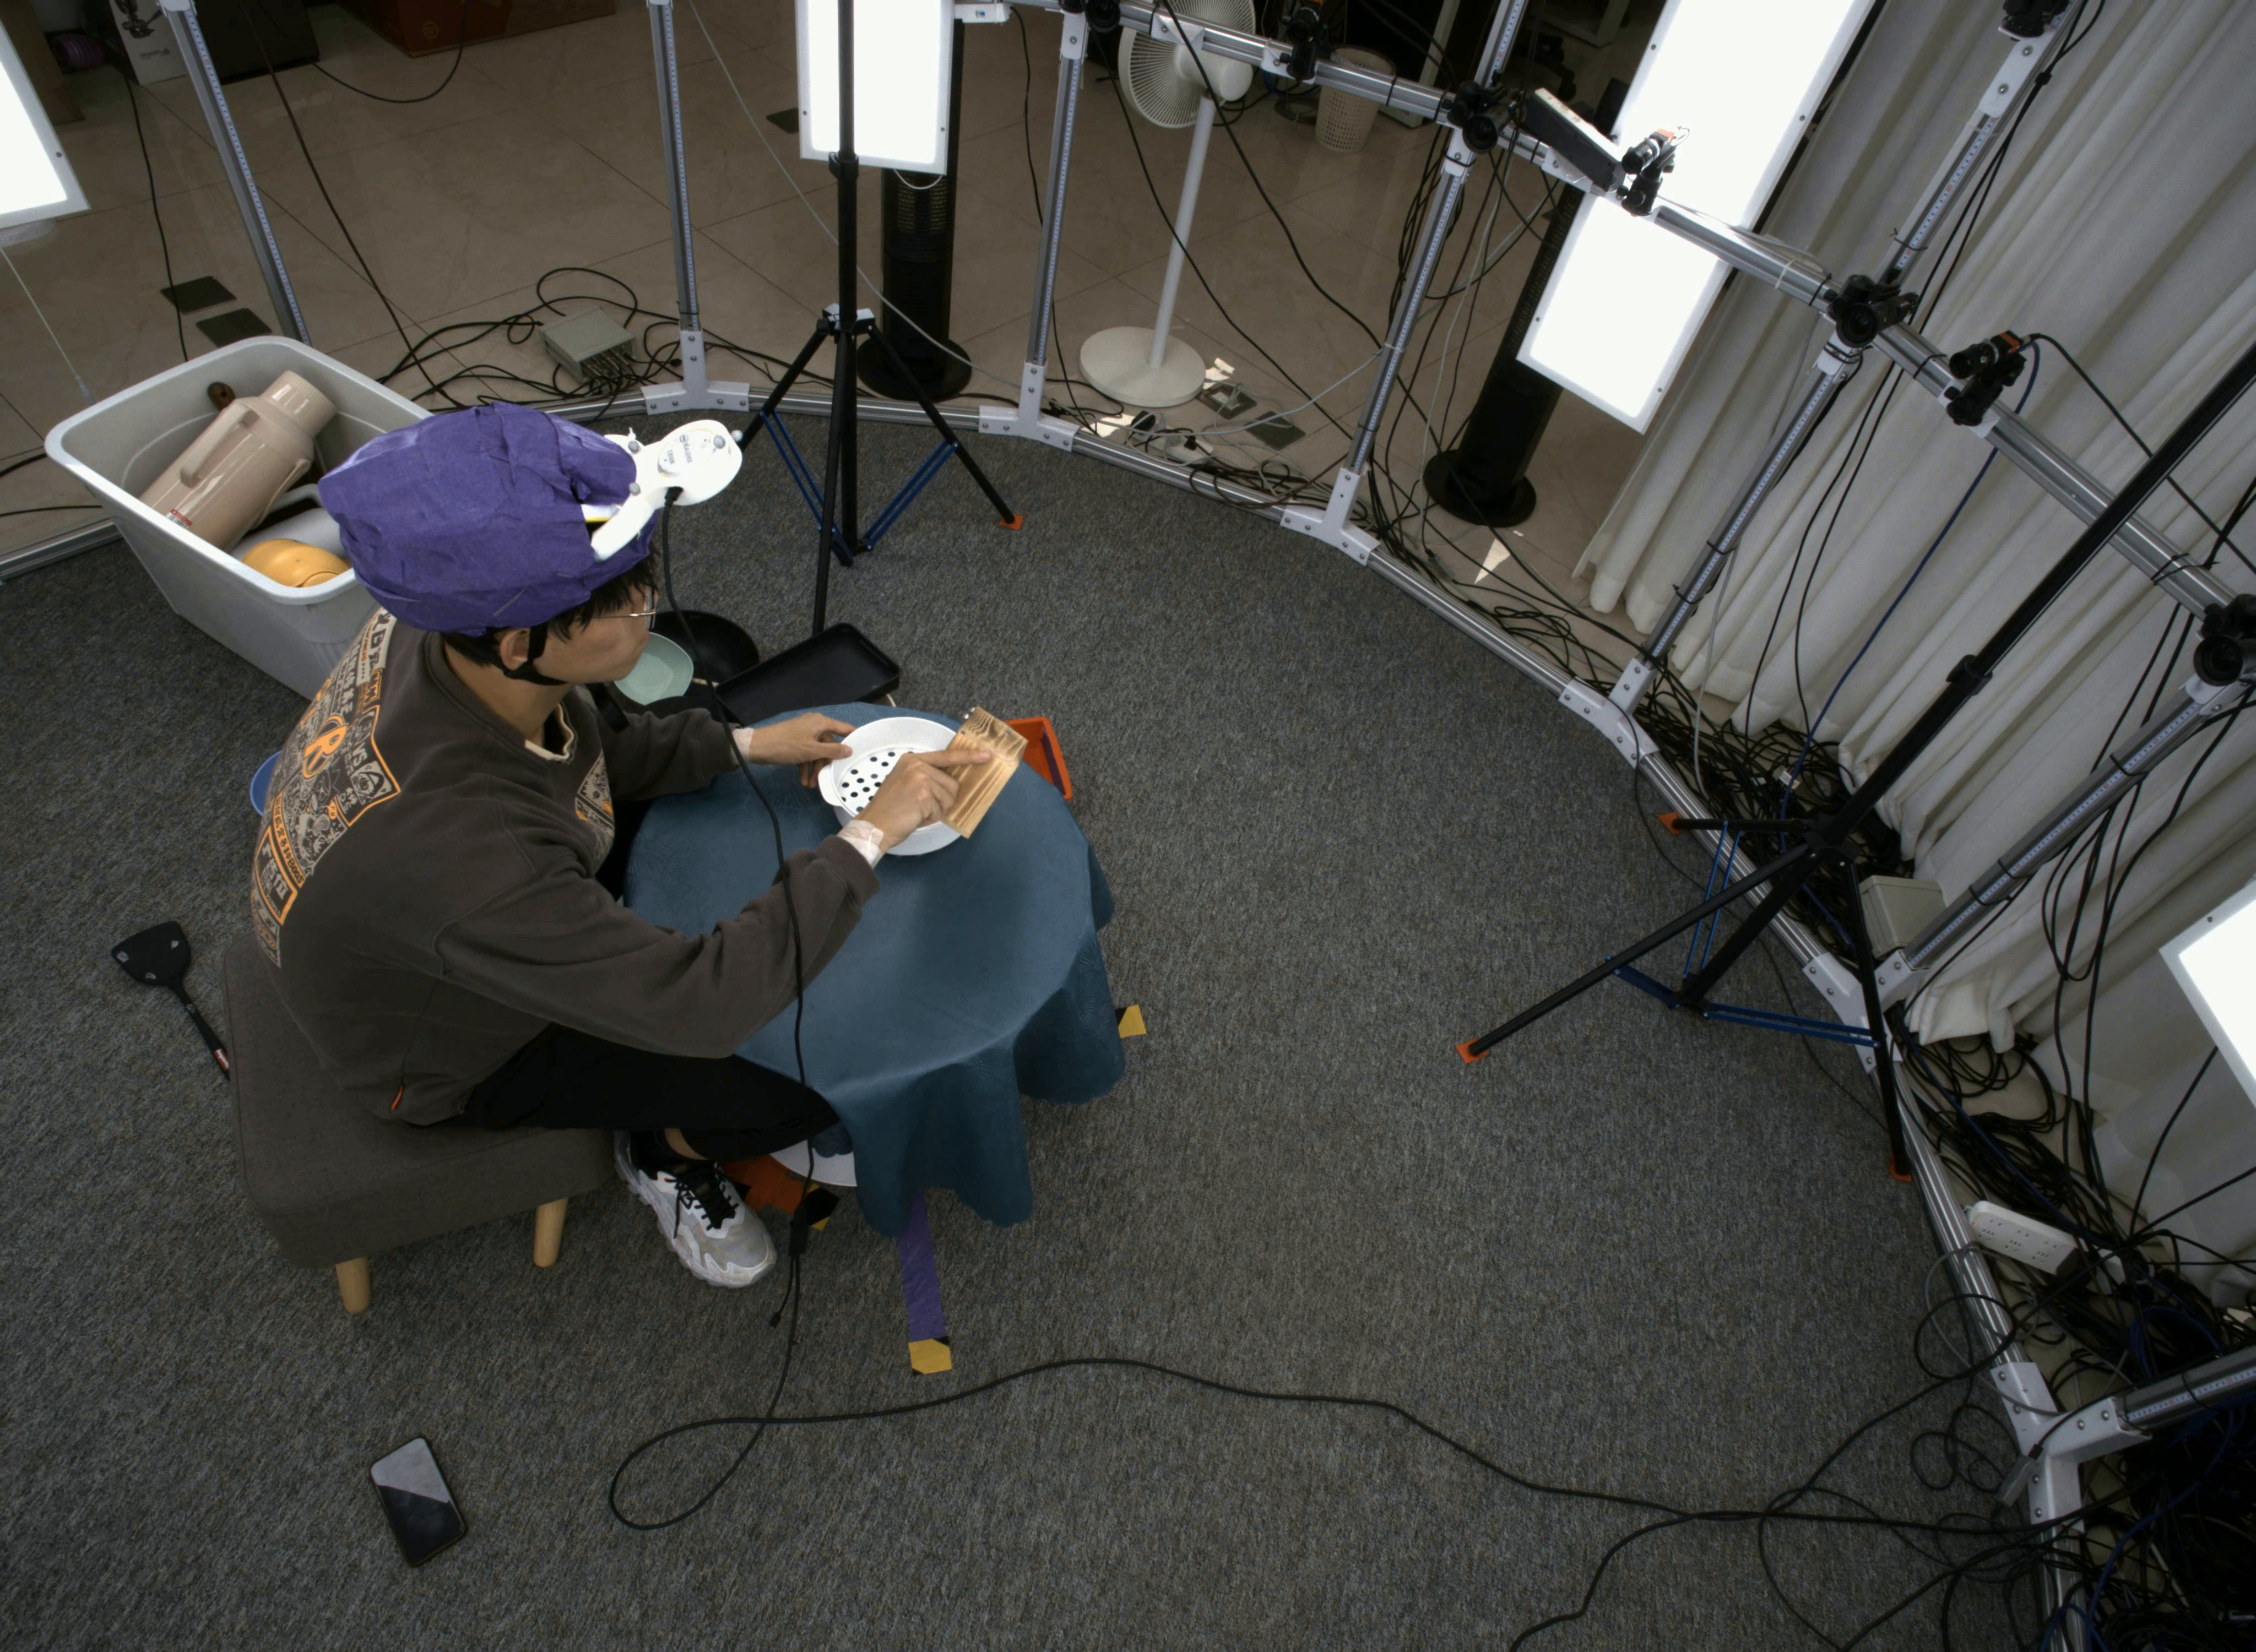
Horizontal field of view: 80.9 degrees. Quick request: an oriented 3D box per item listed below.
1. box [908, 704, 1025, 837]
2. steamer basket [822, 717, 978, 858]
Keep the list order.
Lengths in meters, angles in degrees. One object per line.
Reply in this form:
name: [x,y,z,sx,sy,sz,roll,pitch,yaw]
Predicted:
box: [-0.193,-0.072,1.594,0.081,0.108,0.209,33,9,-7]
steamer basket: [-0.297,-0.053,1.764,0.231,0.071,0.197,-10,57,-19]
